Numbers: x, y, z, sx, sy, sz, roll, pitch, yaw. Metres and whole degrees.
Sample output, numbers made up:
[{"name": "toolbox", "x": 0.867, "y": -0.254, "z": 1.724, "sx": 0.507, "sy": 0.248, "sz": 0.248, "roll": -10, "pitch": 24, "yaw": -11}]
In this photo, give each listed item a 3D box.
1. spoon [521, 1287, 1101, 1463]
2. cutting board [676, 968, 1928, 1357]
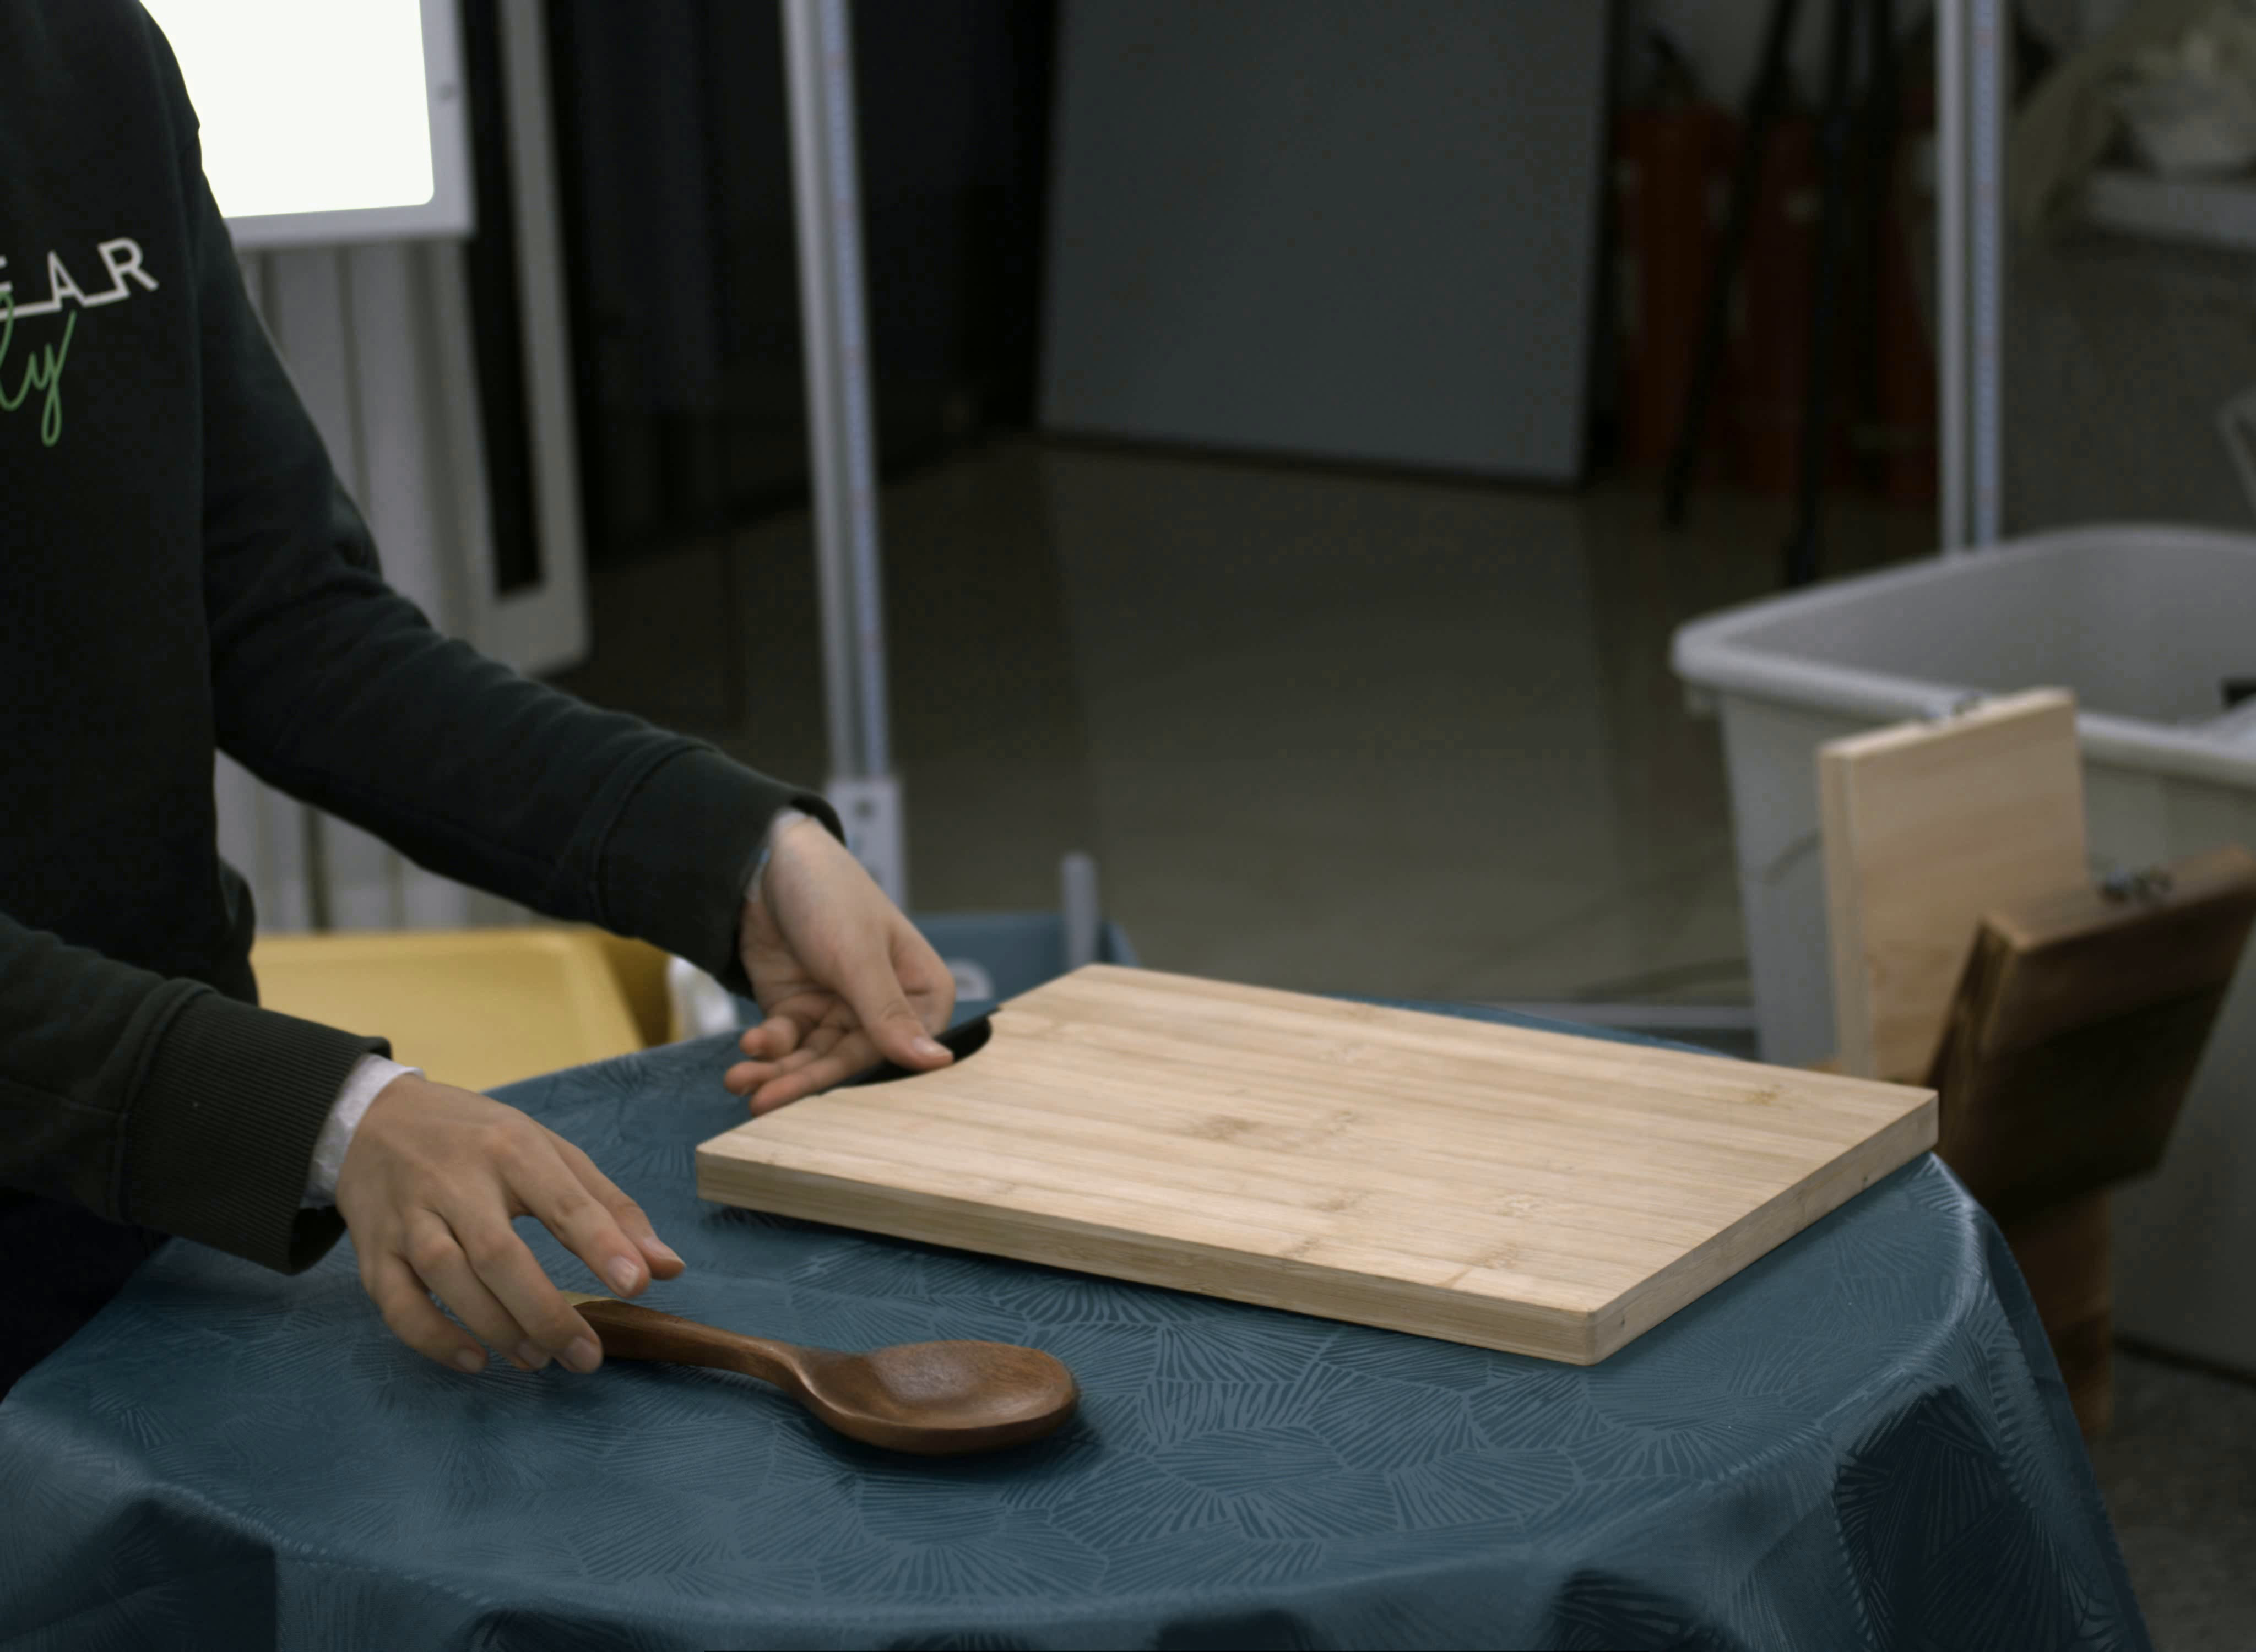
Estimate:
[{"name": "spoon", "x": -0.098, "y": 0.161, "z": 1.601, "sx": 0.217, "sy": 0.017, "sz": 0.074, "roll": 8, "pitch": 20, "yaw": 39}, {"name": "cutting board", "x": 0.057, "y": 0.105, "z": 1.771, "sx": 0.350, "sy": 0.024, "sz": 0.246, "roll": 7, "pitch": 17, "yaw": 33}]
